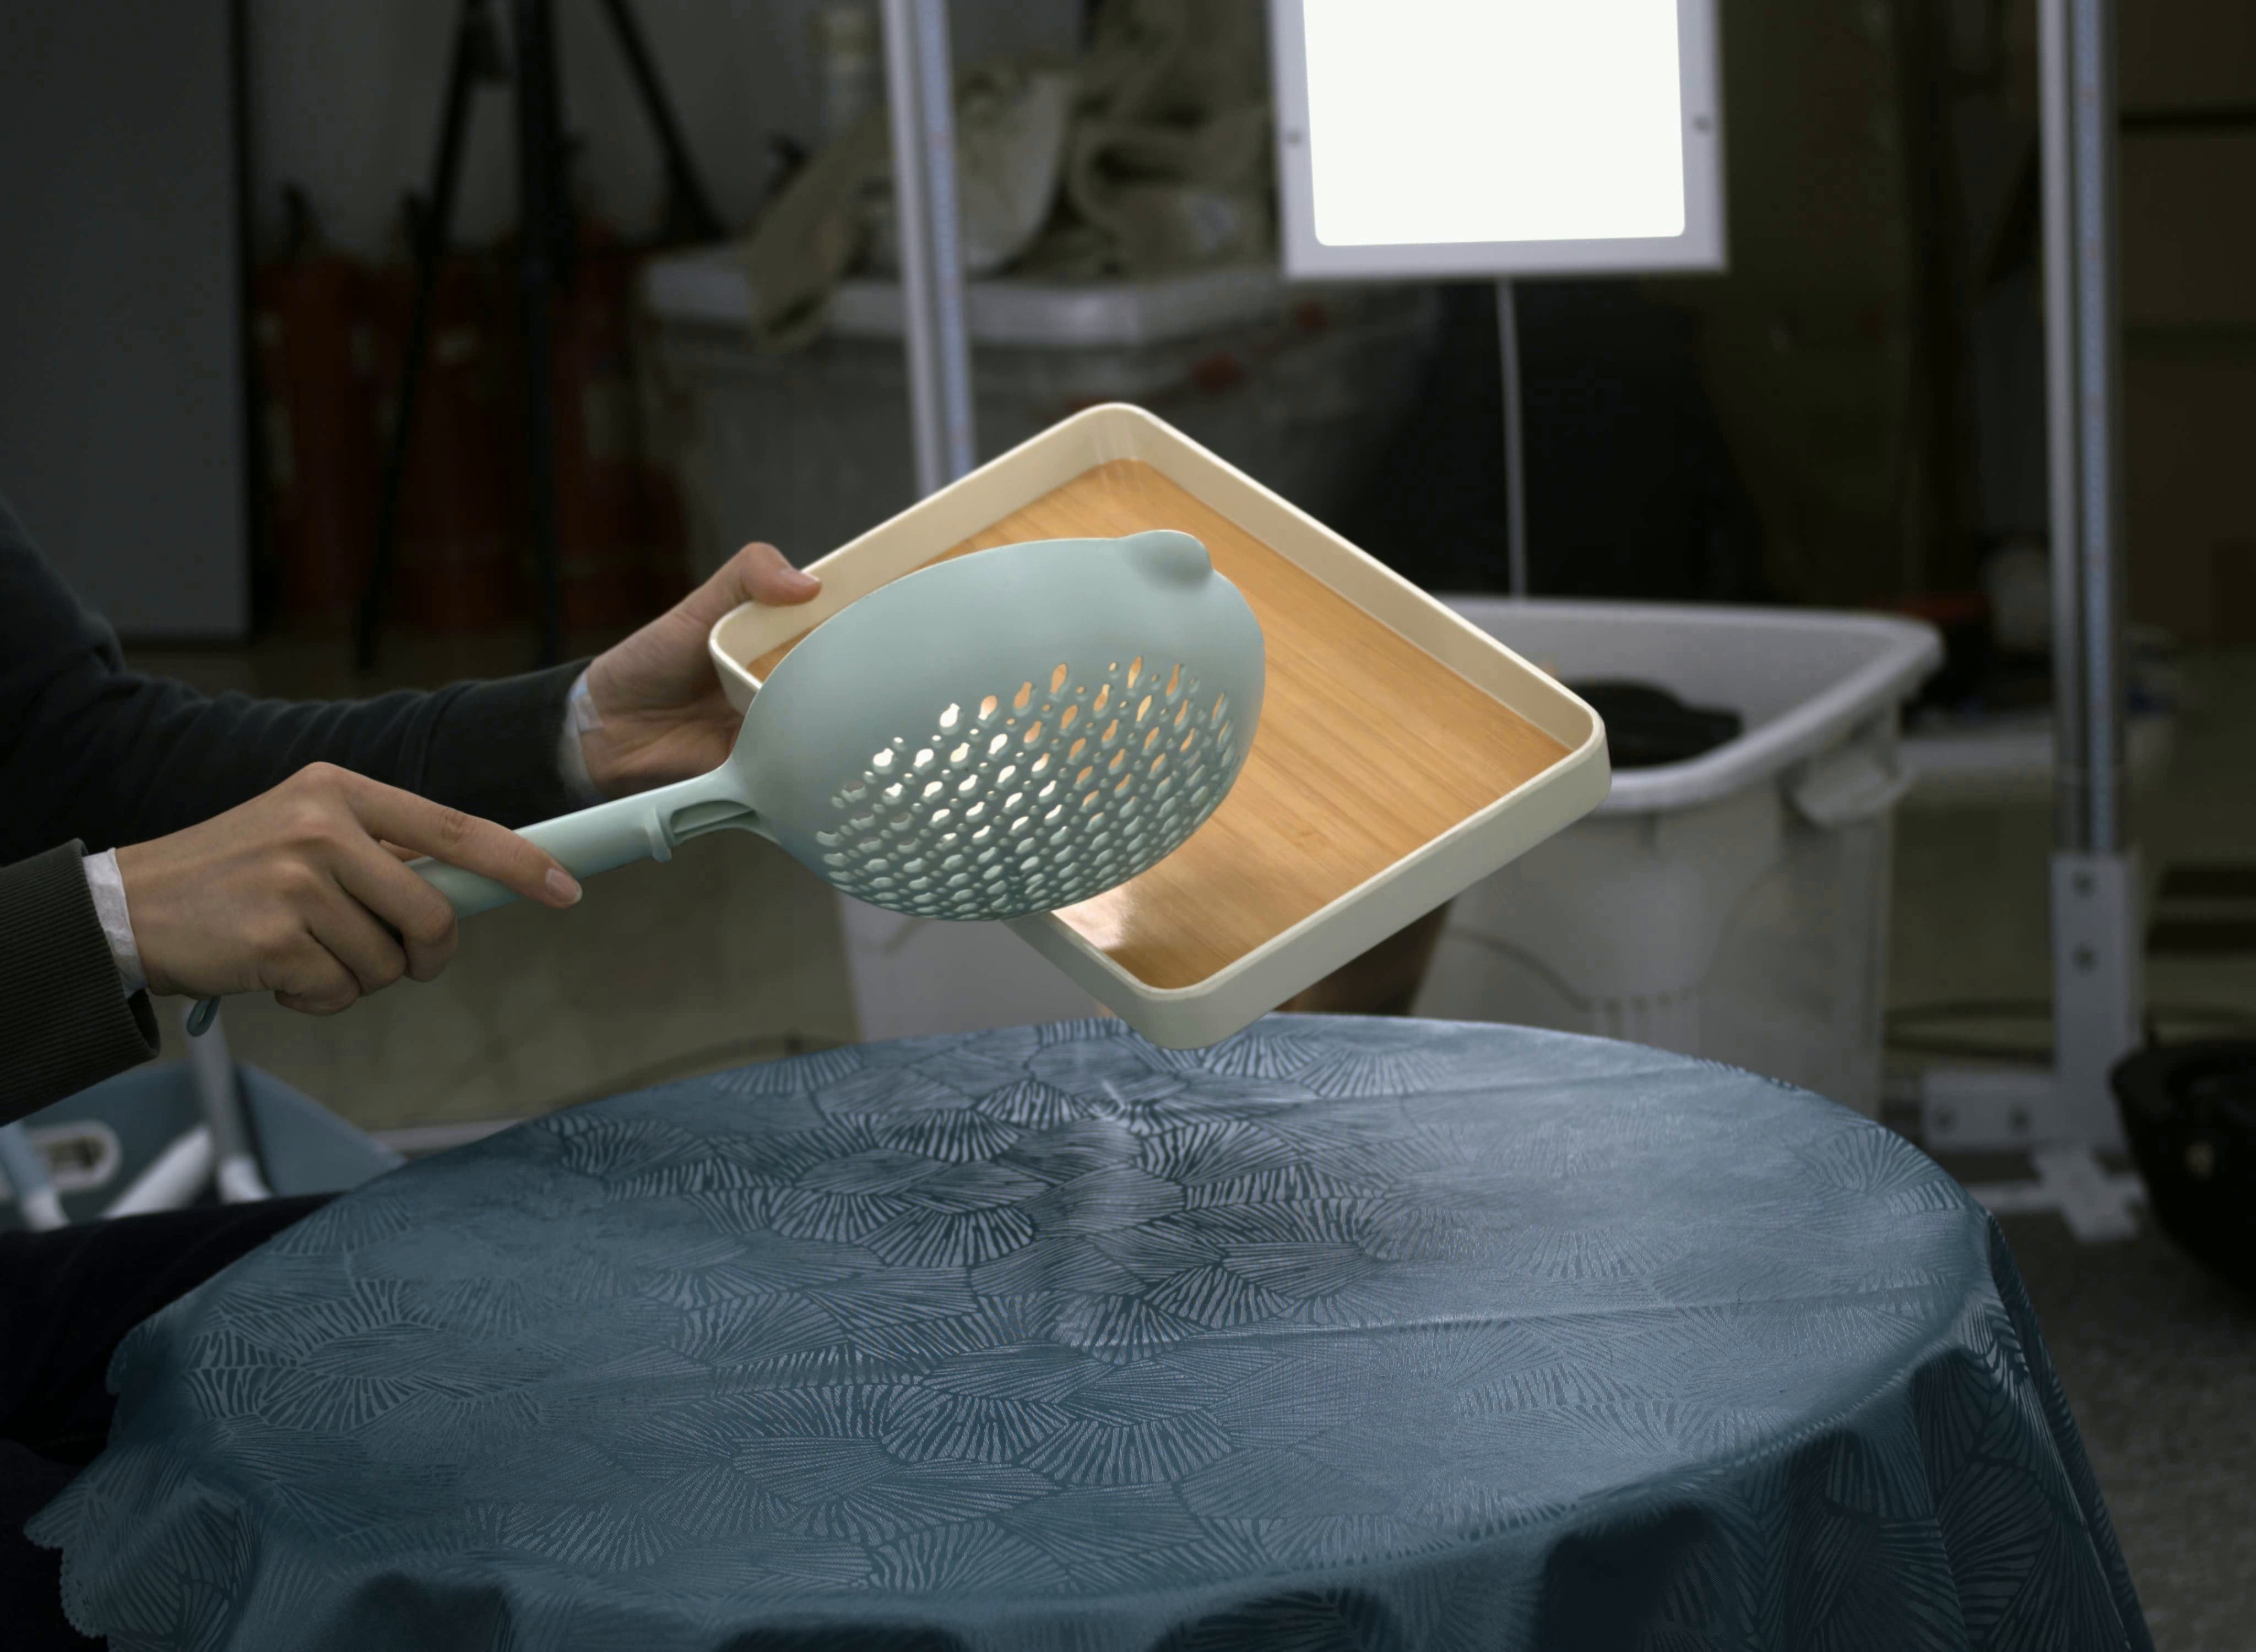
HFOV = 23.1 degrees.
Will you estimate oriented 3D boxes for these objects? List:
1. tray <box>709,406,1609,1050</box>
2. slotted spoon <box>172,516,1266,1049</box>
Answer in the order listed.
[{"bbox_3d":[0.006,-0.040,1.879,0.189,0.027,0.305,-31,40,-19],"label":"tray"},{"bbox_3d":[-0.127,0.001,1.726,0.359,0.169,0.075,-11,56,3],"label":"slotted spoon"}]
